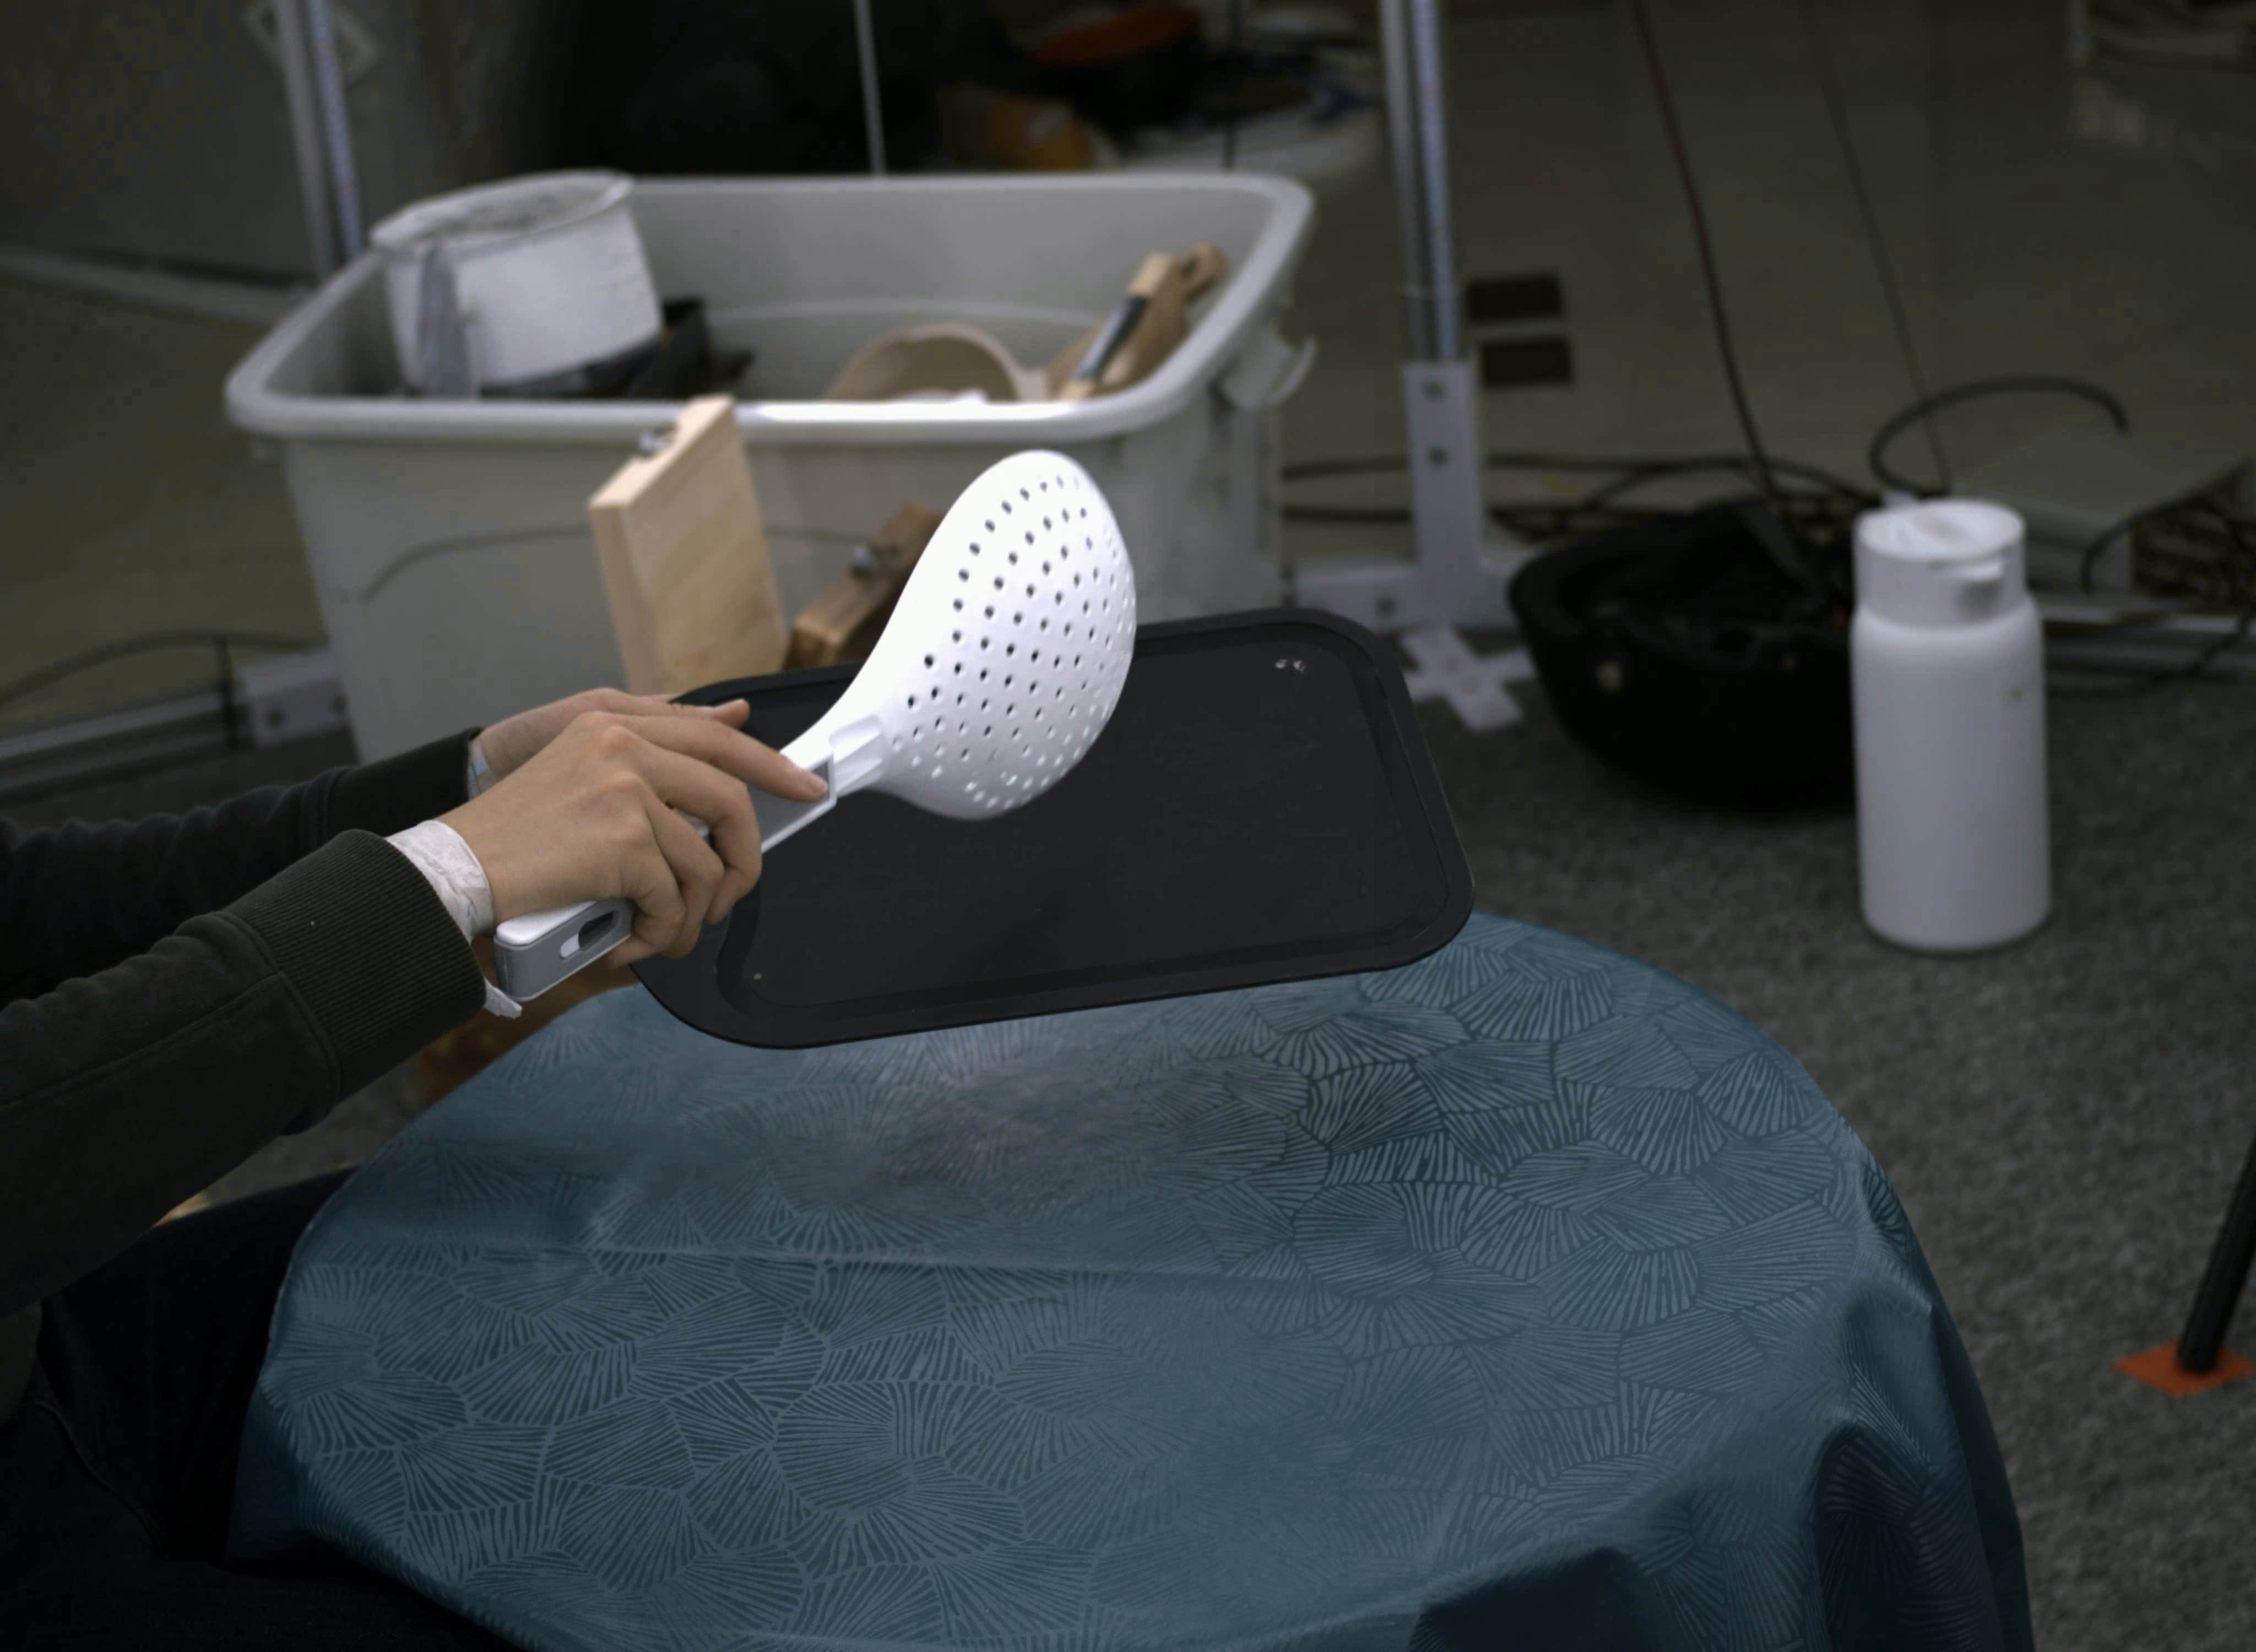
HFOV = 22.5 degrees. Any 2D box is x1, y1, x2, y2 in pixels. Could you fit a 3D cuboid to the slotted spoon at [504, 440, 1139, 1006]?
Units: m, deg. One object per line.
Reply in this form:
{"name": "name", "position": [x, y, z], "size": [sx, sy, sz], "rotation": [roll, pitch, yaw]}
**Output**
{"name": "slotted spoon", "position": [-0.099, -0.026, 1.972], "size": [0.045, 0.138, 0.346], "rotation": [19, 37, 36]}

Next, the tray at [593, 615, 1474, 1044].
{"name": "tray", "position": [-0.040, -0.001, 2.148], "size": [0.325, 0.010, 0.207], "rotation": [-7, 43, -7]}
